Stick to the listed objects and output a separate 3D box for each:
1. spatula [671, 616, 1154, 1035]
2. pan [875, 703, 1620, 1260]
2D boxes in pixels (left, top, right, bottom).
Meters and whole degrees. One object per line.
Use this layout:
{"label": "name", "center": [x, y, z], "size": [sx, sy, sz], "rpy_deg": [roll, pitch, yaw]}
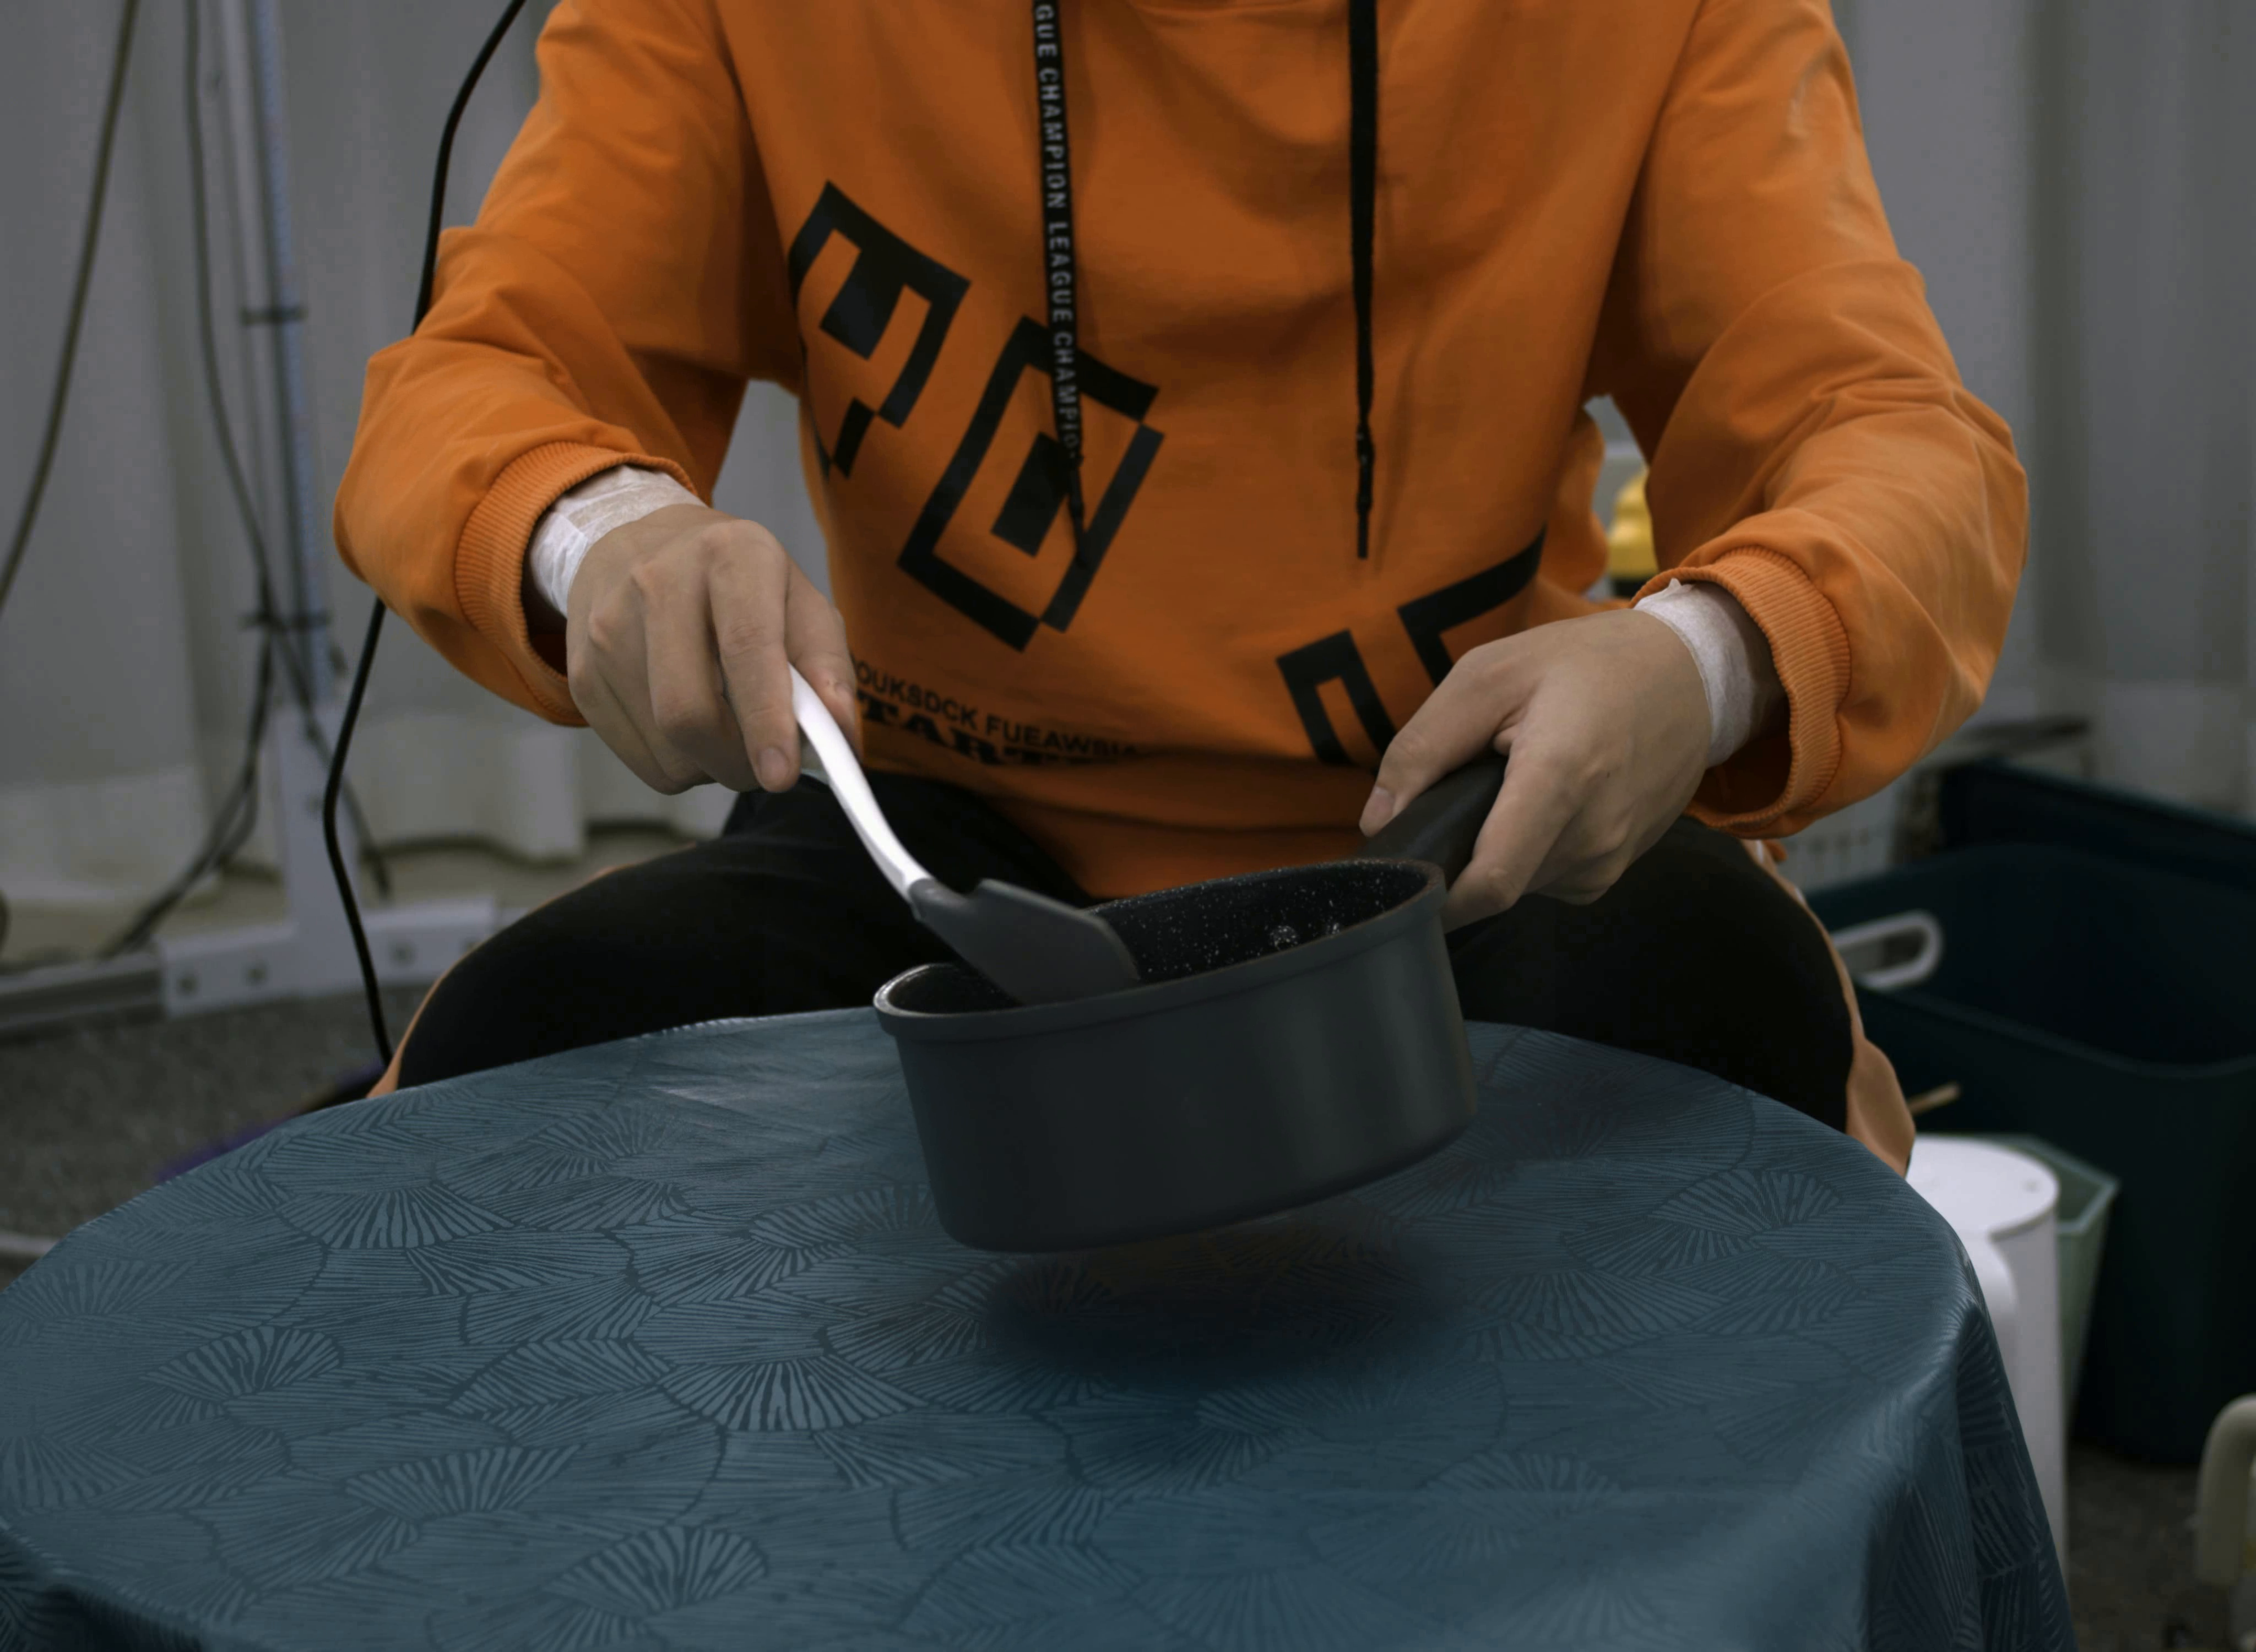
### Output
{"label": "spatula", "center": [-0.068, 0.002, 1.640], "size": [0.032, 0.058, 0.291], "rpy_deg": [-29, 33, -15]}
{"label": "pan", "center": [0.061, 0.045, 1.661], "size": [0.172, 0.086, 0.329], "rpy_deg": [-6, 12, 37]}
